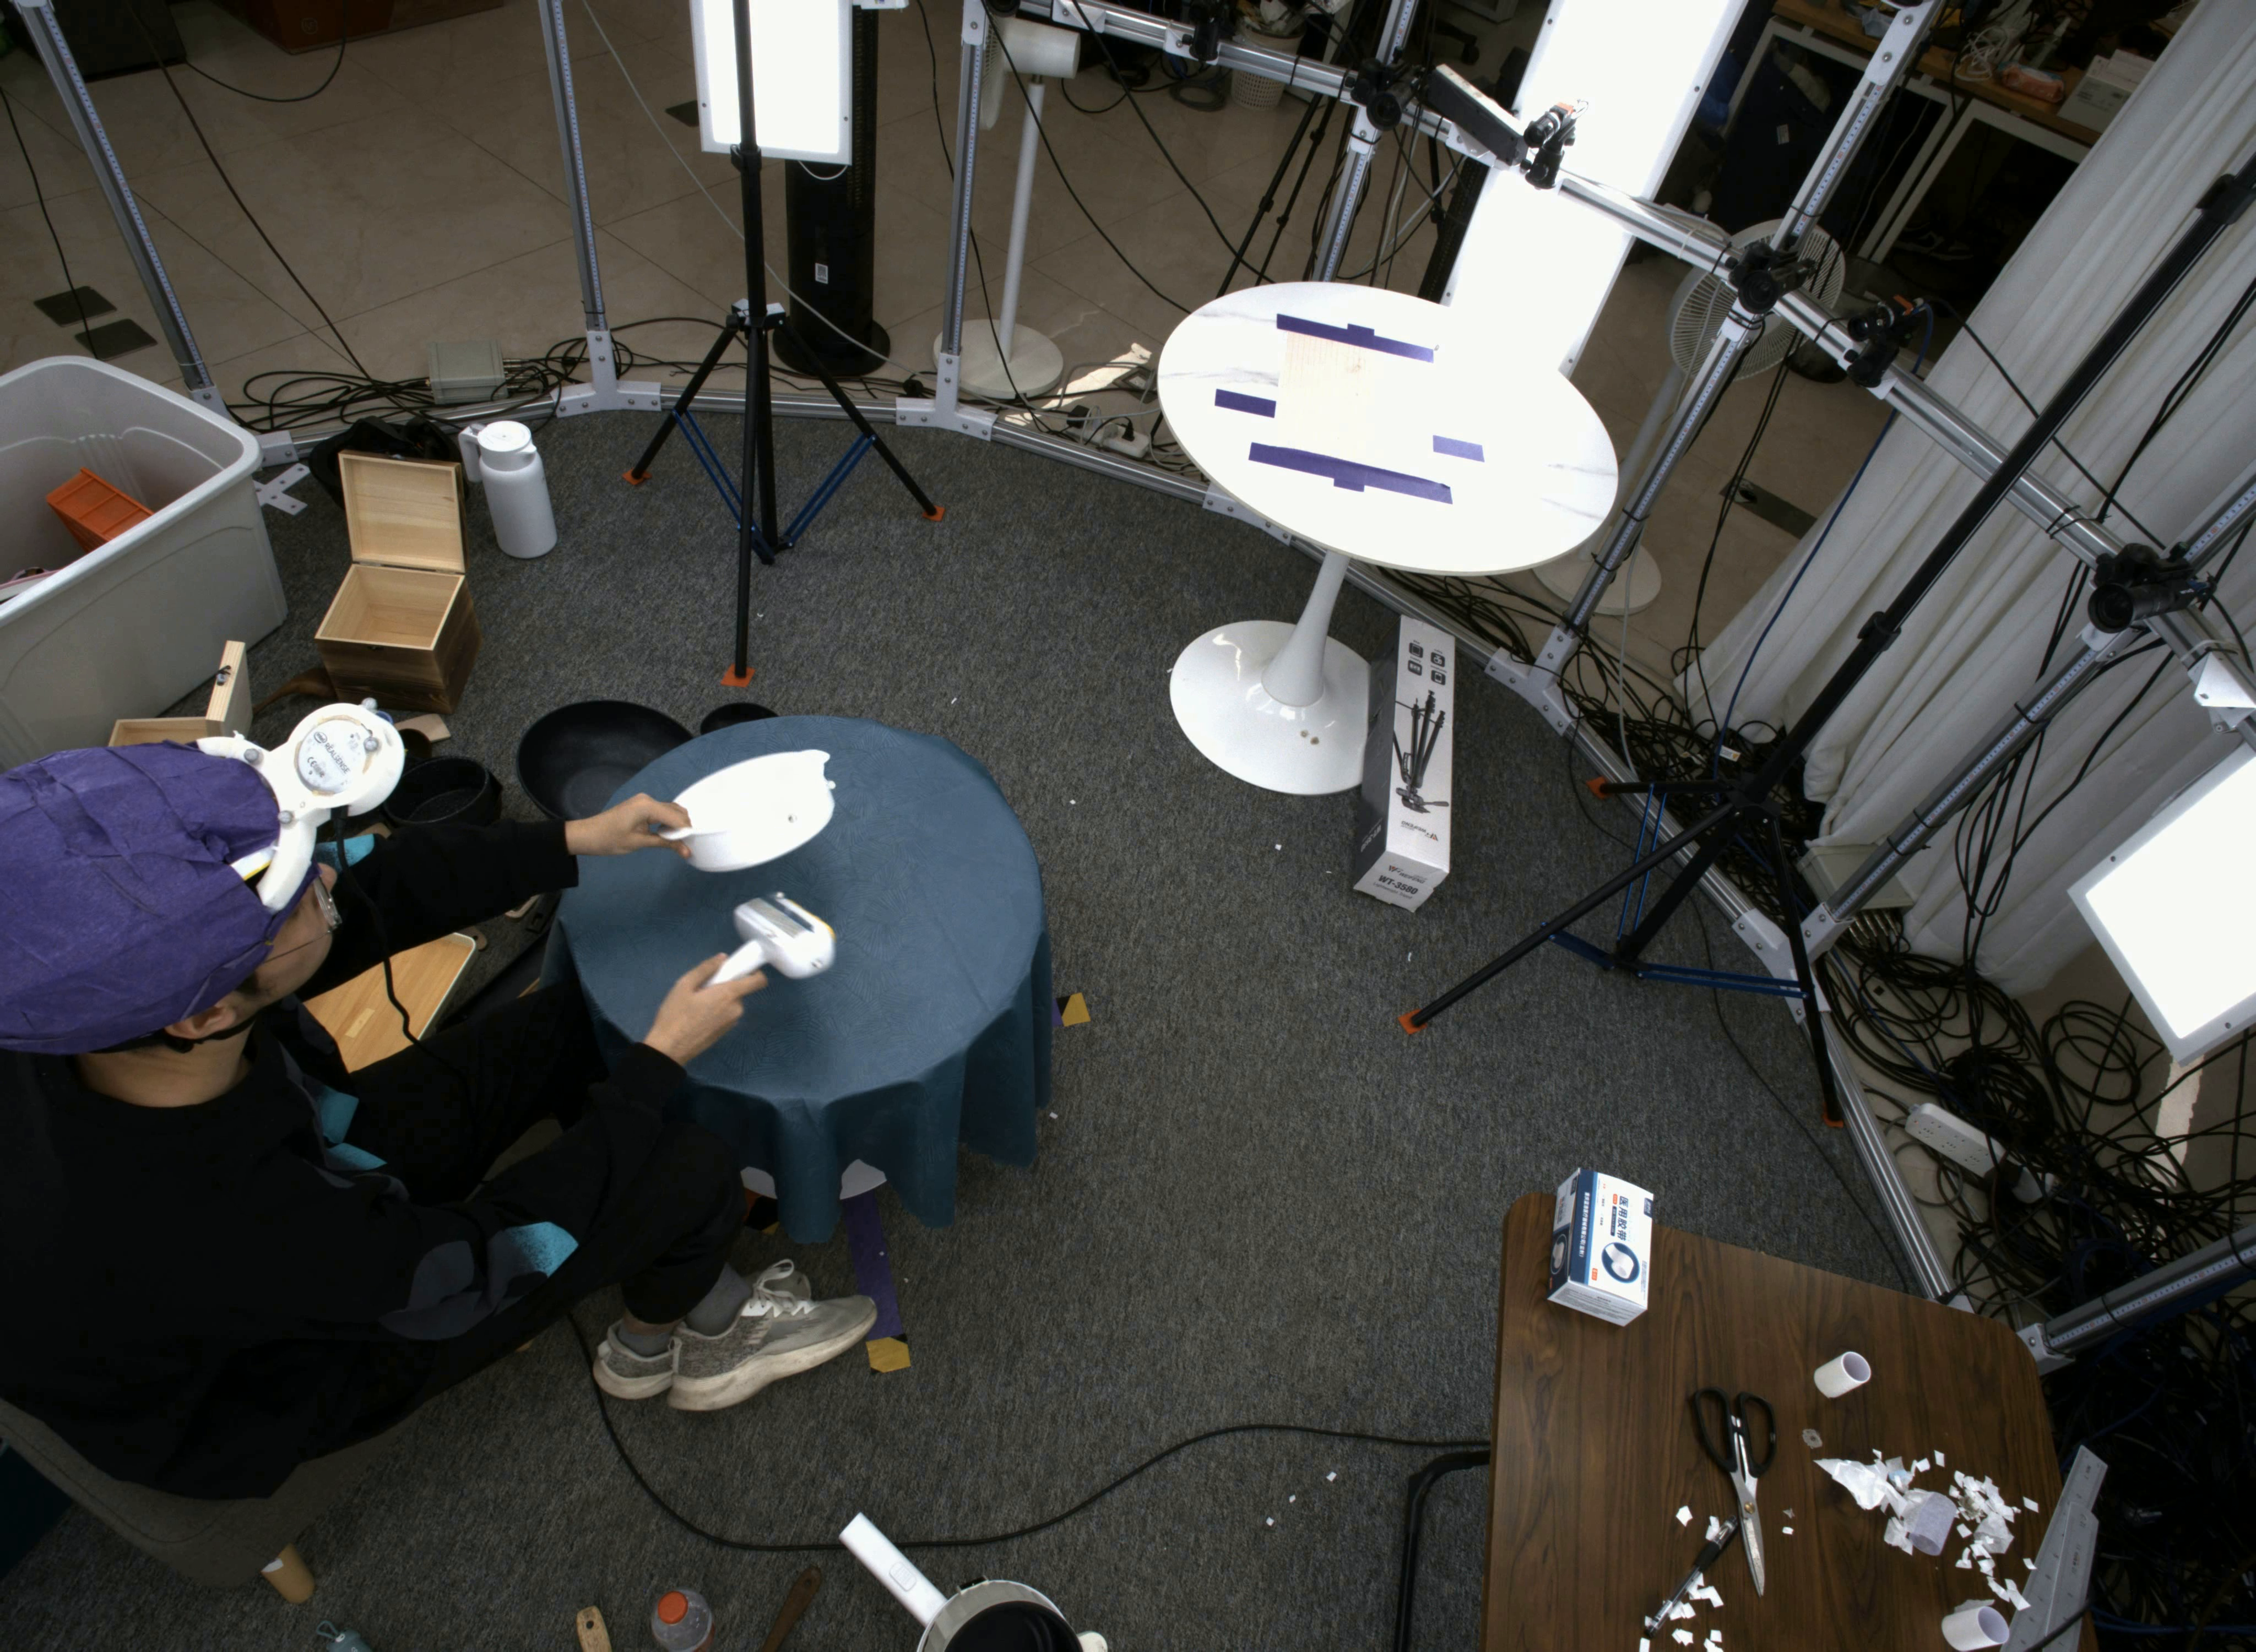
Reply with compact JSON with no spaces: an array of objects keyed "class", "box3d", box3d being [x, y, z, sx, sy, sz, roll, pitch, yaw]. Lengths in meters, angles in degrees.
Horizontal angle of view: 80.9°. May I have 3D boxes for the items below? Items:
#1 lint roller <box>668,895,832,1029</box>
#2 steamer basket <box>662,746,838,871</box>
[{"class":"lint roller","box3d":[-0.446,0.157,1.478,0.193,0.077,0.186,-30,30,-23]},{"class":"steamer basket","box3d":[-0.453,-0.020,1.581,0.231,0.071,0.195,-35,28,-32]}]
